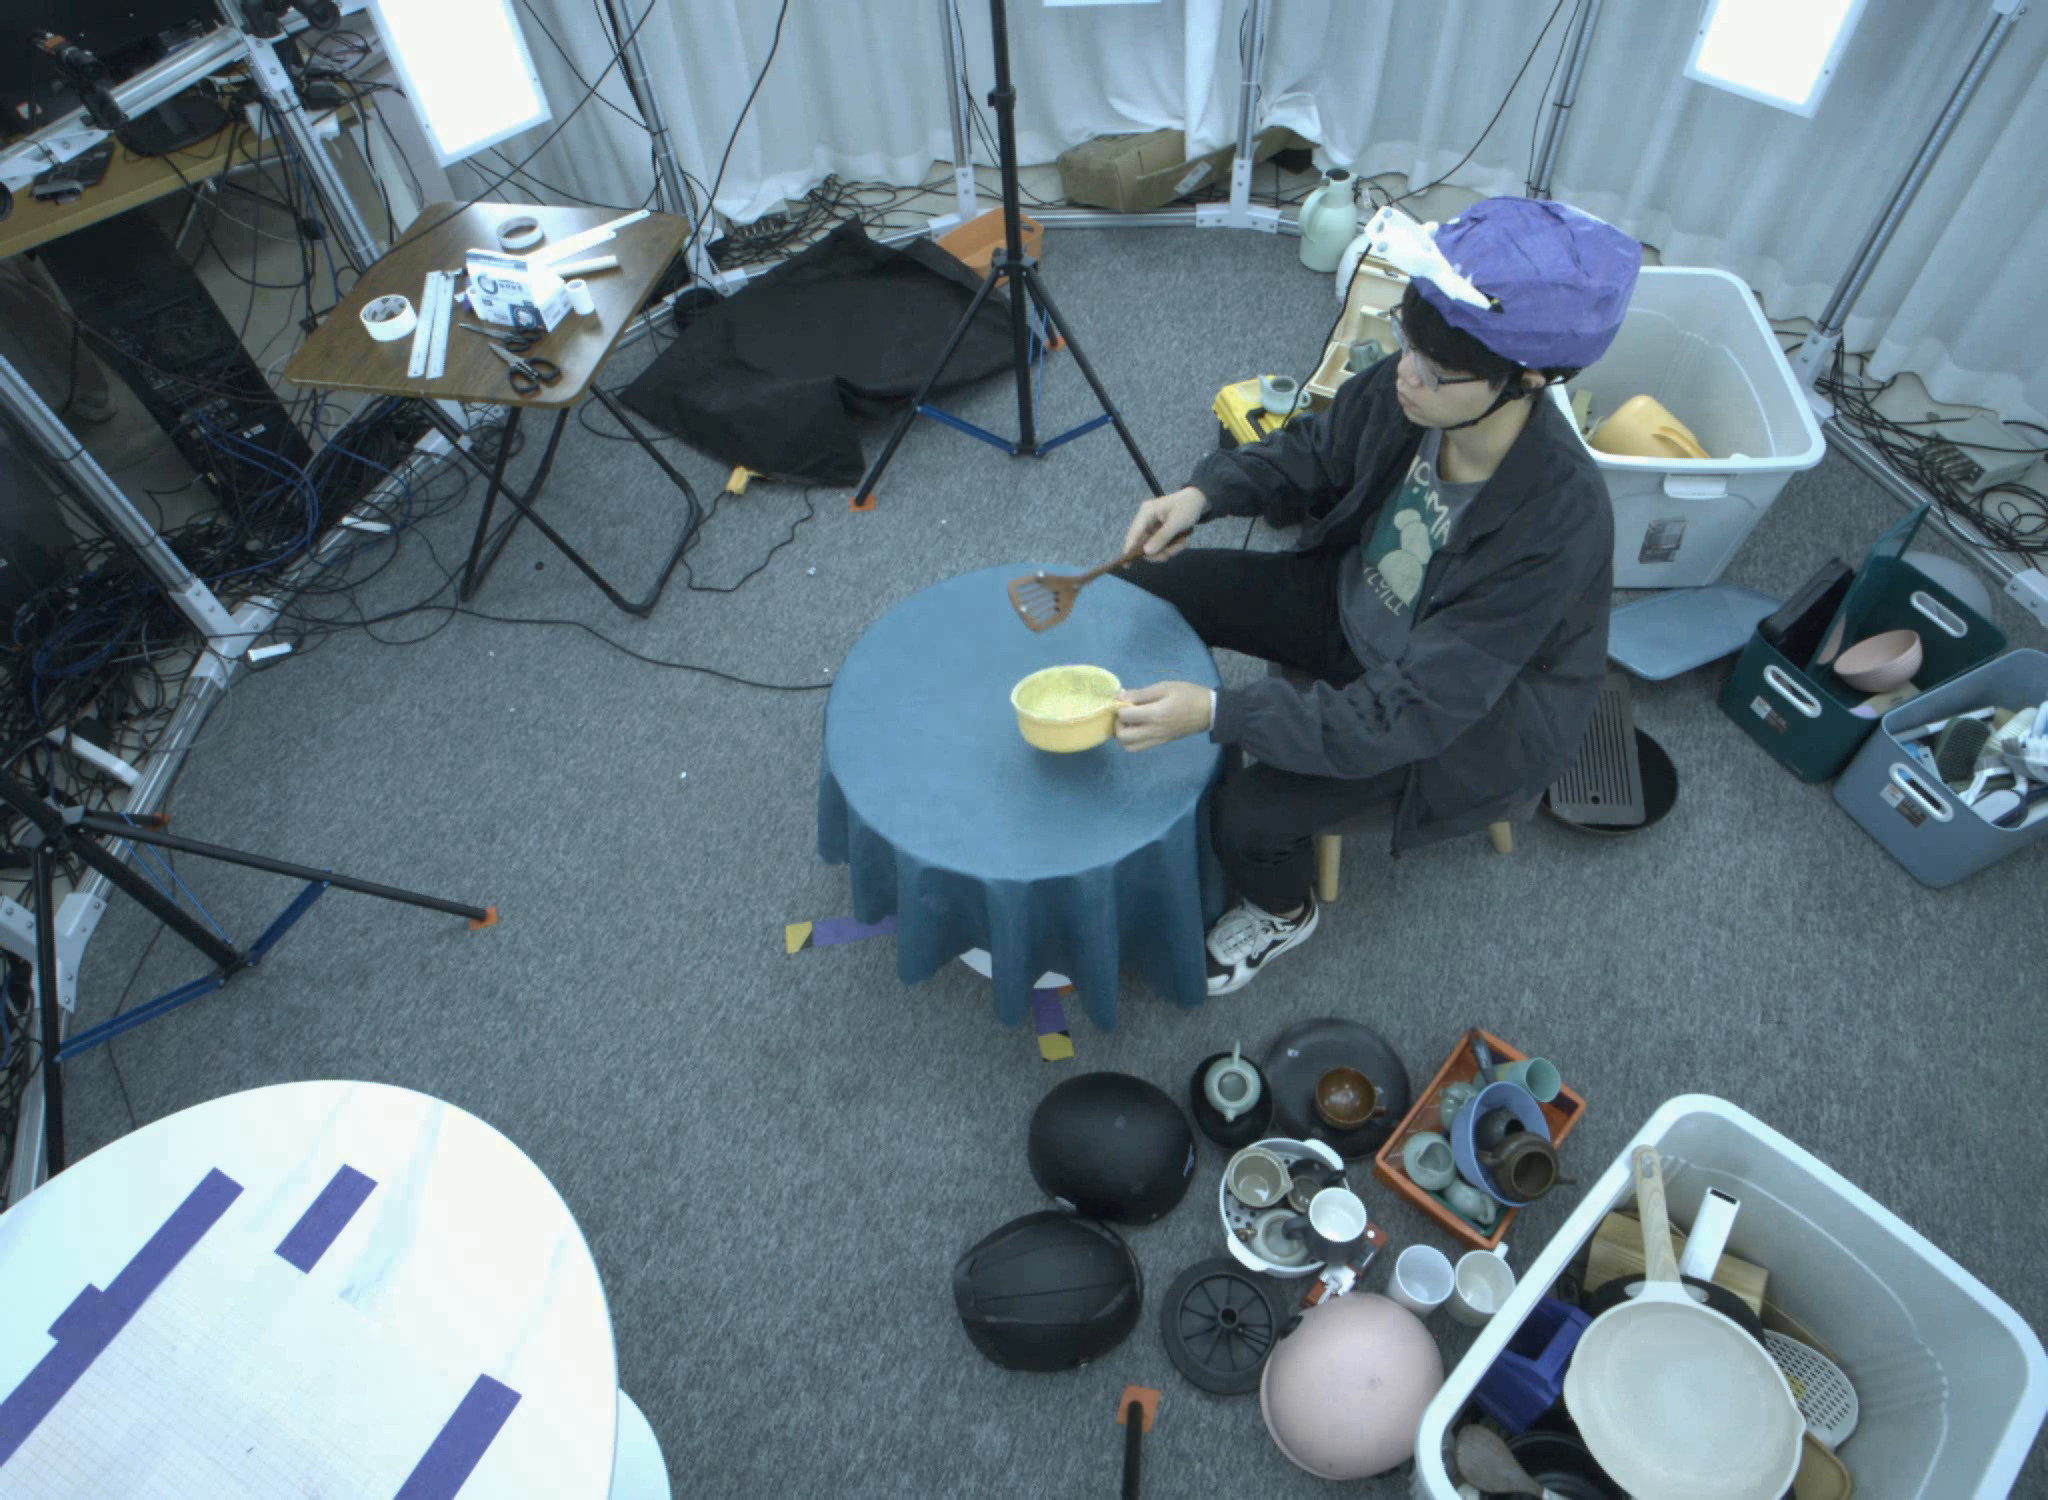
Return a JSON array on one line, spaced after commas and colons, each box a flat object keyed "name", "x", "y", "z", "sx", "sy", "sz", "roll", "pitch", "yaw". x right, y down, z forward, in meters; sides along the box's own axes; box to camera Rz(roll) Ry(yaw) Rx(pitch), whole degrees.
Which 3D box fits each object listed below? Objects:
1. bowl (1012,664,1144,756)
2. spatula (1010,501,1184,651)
[{"name": "bowl", "x": 0.075, "y": -0.051, "z": 1.706, "sx": 0.177, "sy": 0.075, "sz": 0.153, "roll": 3, "pitch": 34, "yaw": 16}, {"name": "spatula", "x": 0.116, "y": -0.269, "z": 1.784, "sx": 0.390, "sy": 0.023, "sz": 0.086, "roll": -42, "pitch": 100, "yaw": -32}]
